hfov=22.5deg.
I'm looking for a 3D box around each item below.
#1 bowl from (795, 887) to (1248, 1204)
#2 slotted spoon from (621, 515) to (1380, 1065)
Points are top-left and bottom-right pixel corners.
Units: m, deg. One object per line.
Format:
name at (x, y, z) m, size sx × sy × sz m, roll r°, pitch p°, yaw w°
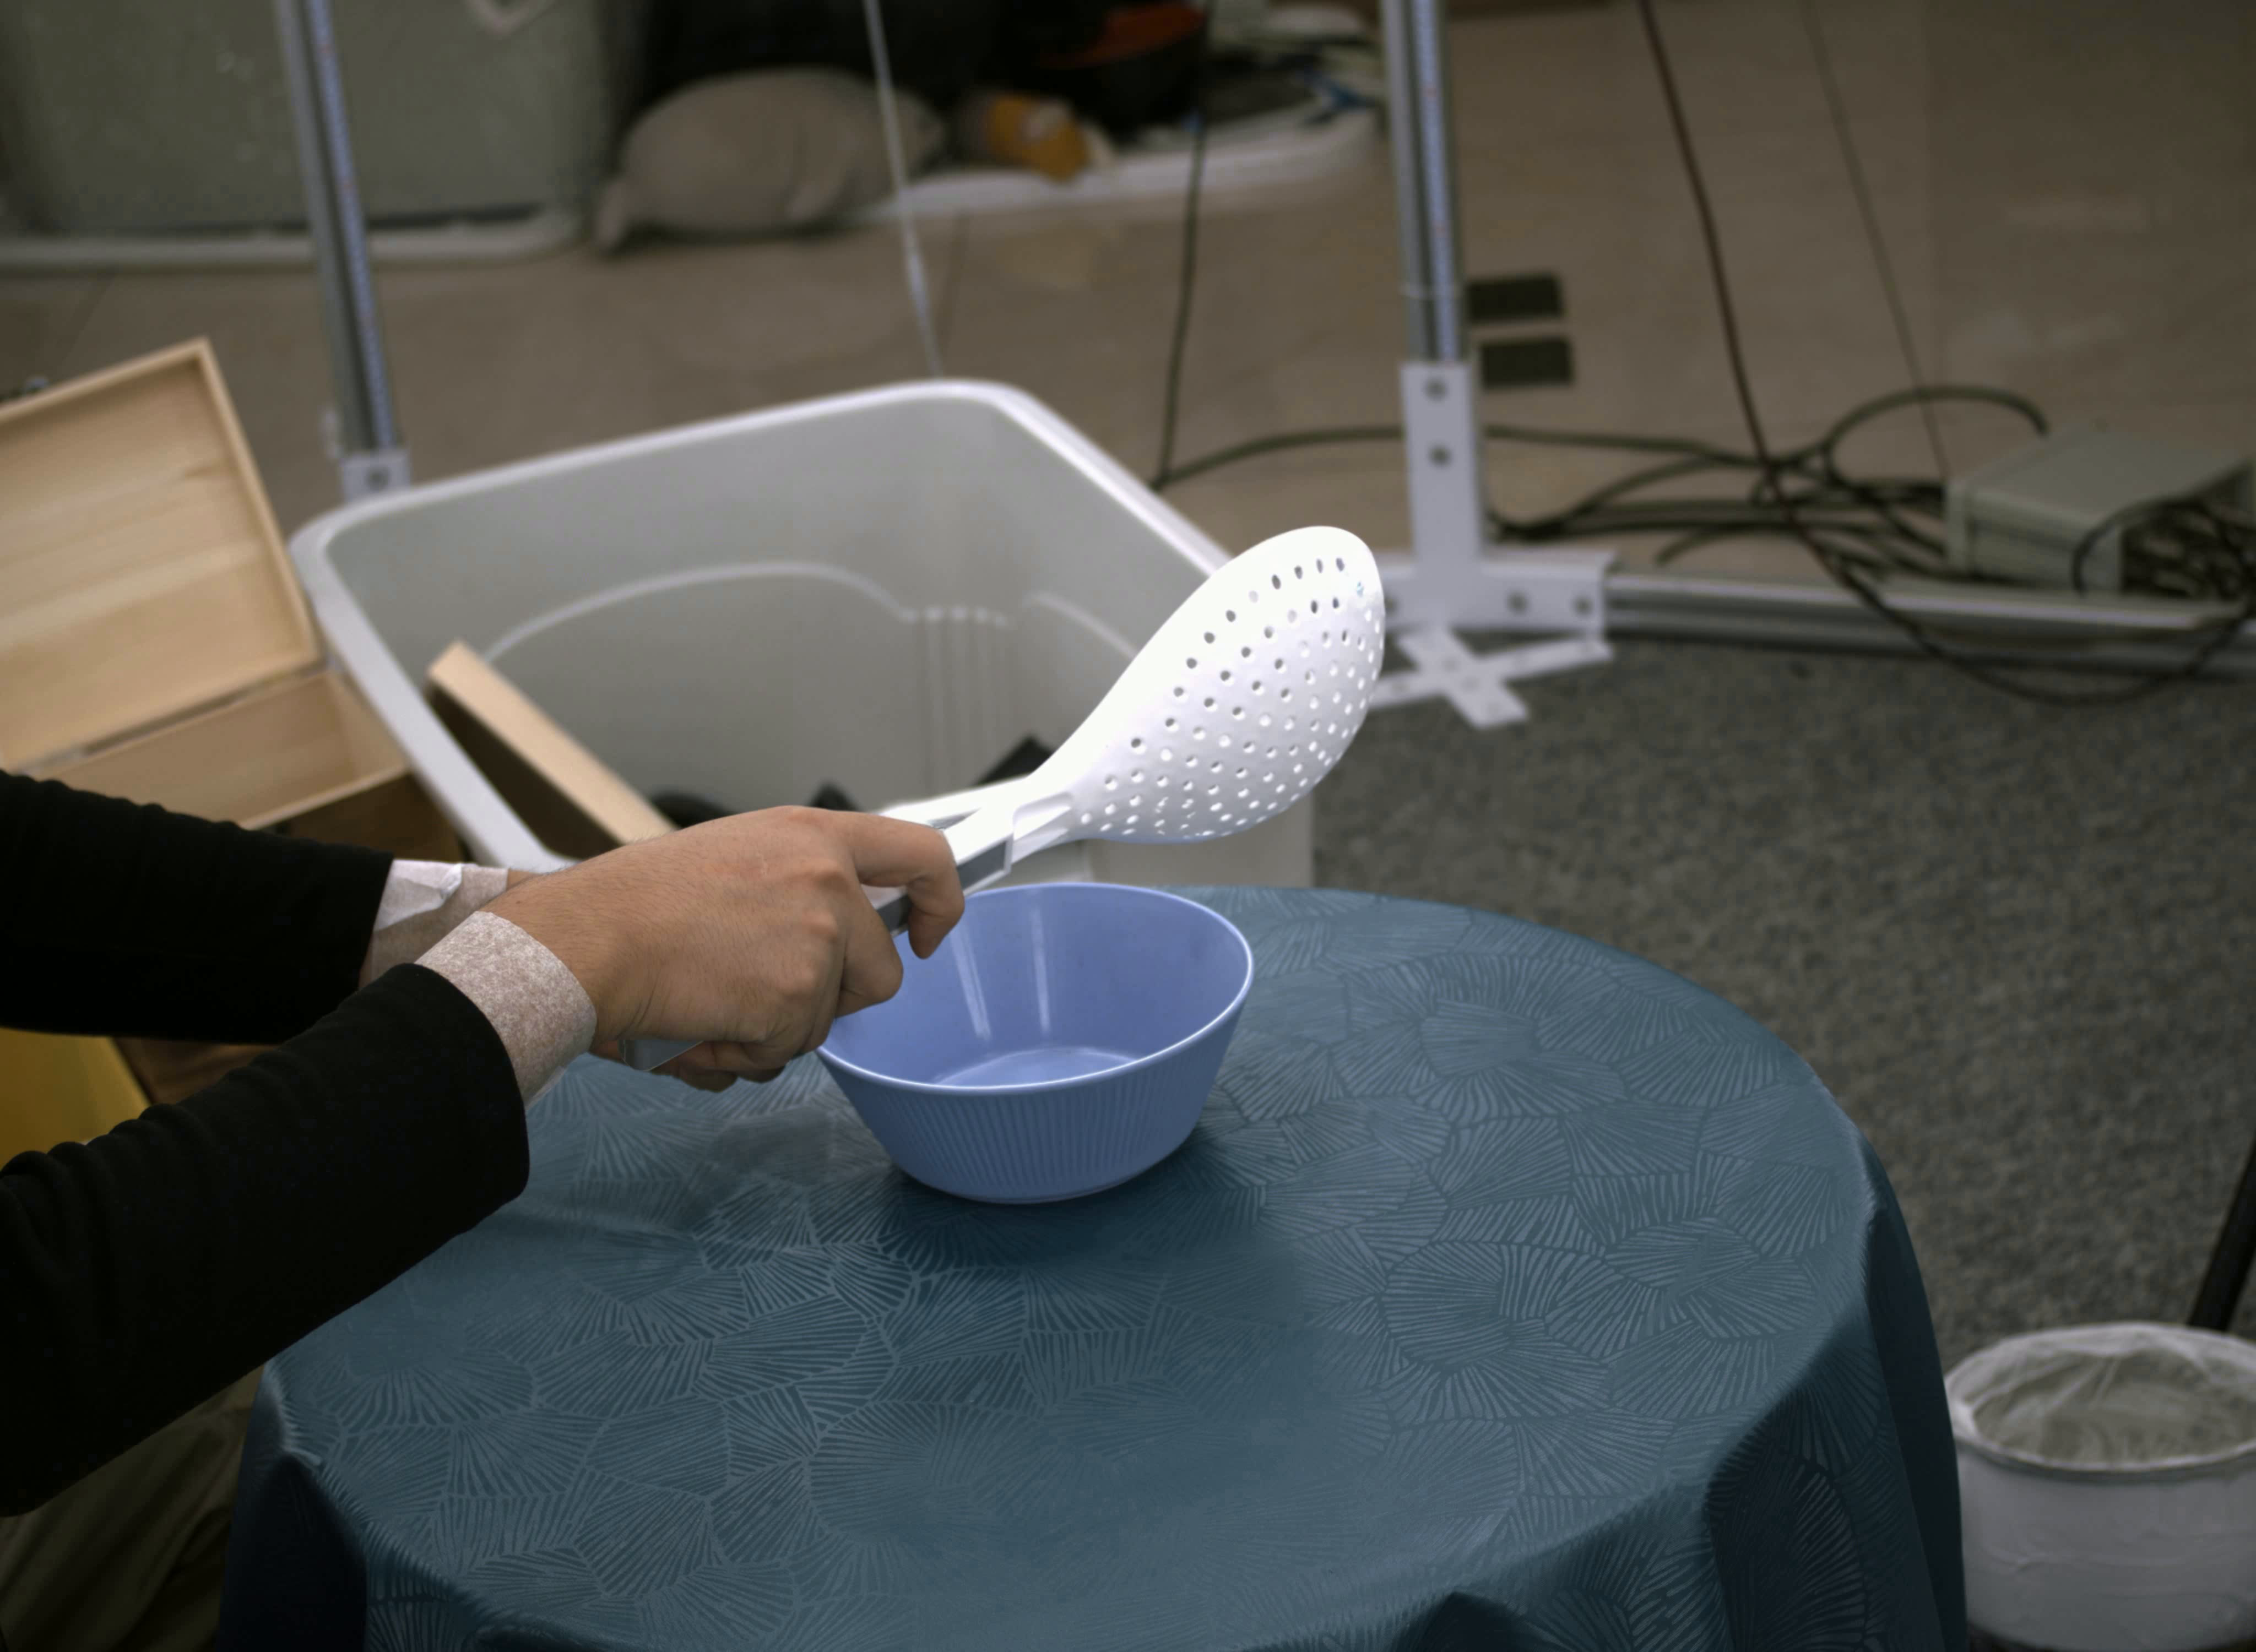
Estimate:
bowl at (-0.037, 0.090, 2.179) m, size 0.176 × 0.071 × 0.173 m, roll -6°, pitch 25°, yaw 3°
slotted spoon at (-0.037, -0.004, 1.991) m, size 0.347 × 0.139 × 0.045 m, roll -25°, pitch 50°, yaw -27°
